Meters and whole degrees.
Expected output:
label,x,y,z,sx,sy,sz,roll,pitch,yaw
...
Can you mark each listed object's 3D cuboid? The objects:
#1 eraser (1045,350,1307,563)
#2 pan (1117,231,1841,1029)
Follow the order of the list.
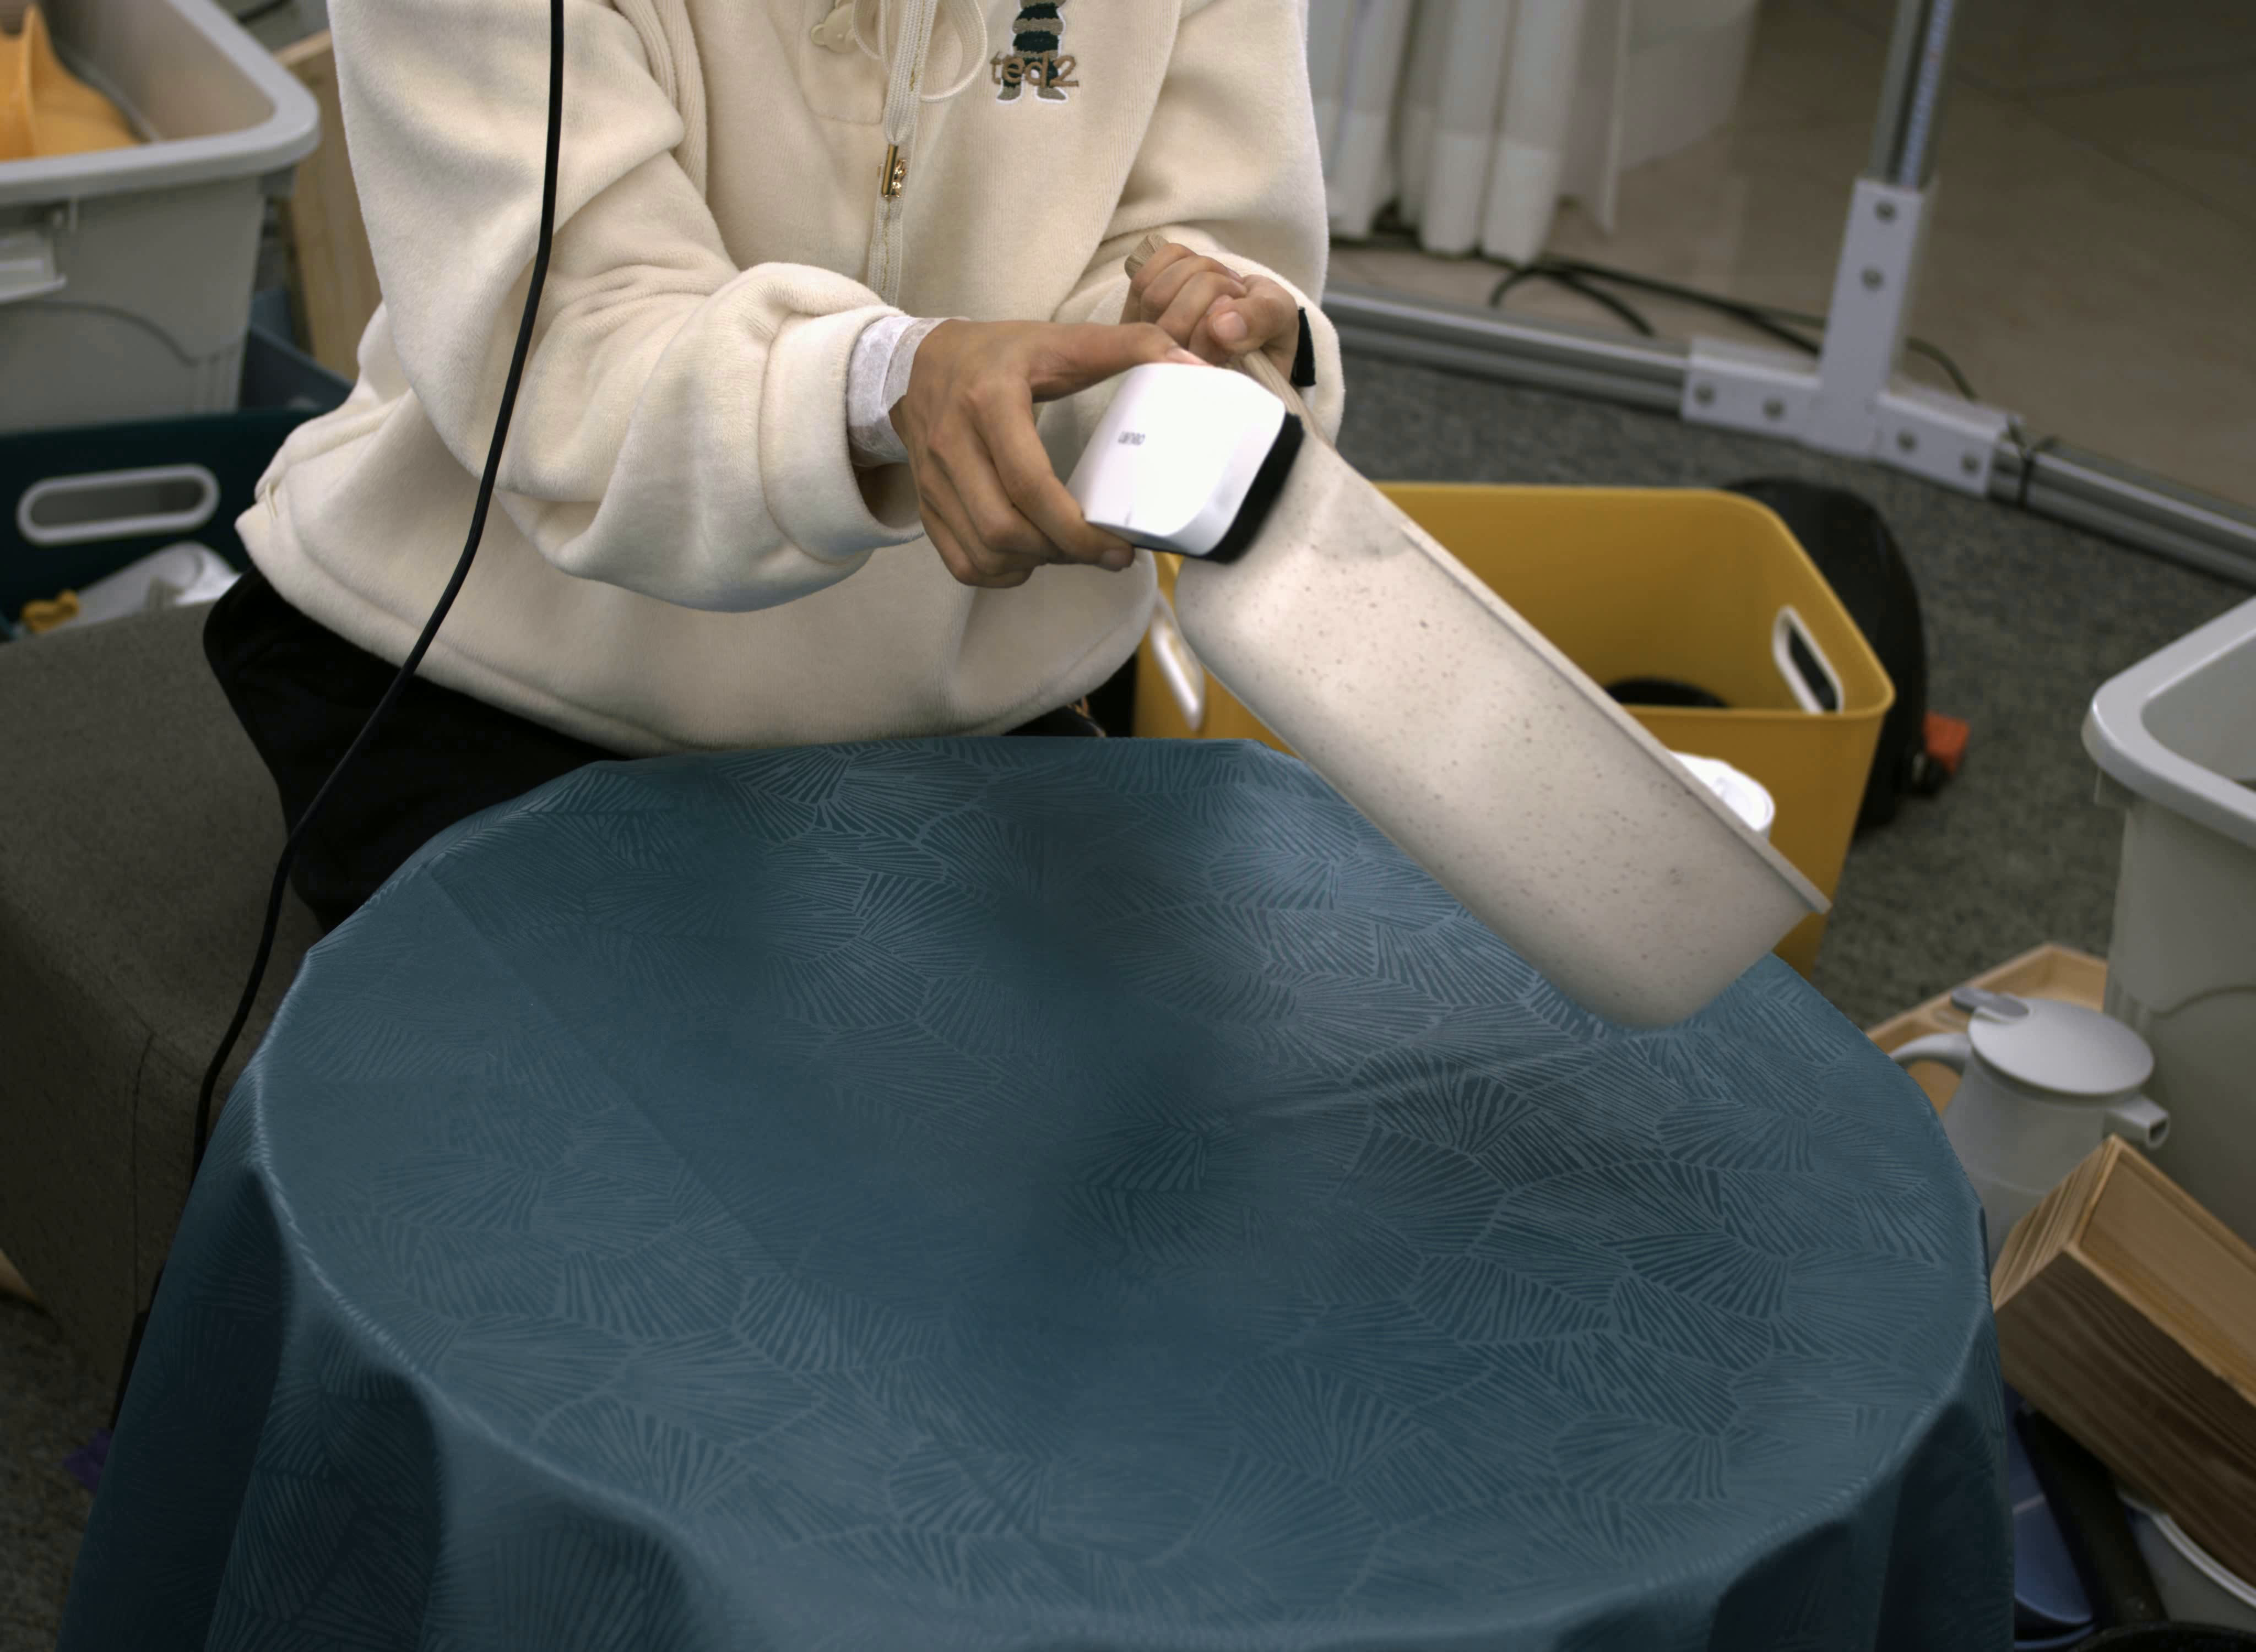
label,x,y,z,sx,sy,sz,roll,pitch,yaw
eraser,0.014,-0.123,1.780,0.034,0.063,0.132,32,-6,-21
pan,0.081,-0.078,1.867,0.261,0.102,0.439,37,7,-42
